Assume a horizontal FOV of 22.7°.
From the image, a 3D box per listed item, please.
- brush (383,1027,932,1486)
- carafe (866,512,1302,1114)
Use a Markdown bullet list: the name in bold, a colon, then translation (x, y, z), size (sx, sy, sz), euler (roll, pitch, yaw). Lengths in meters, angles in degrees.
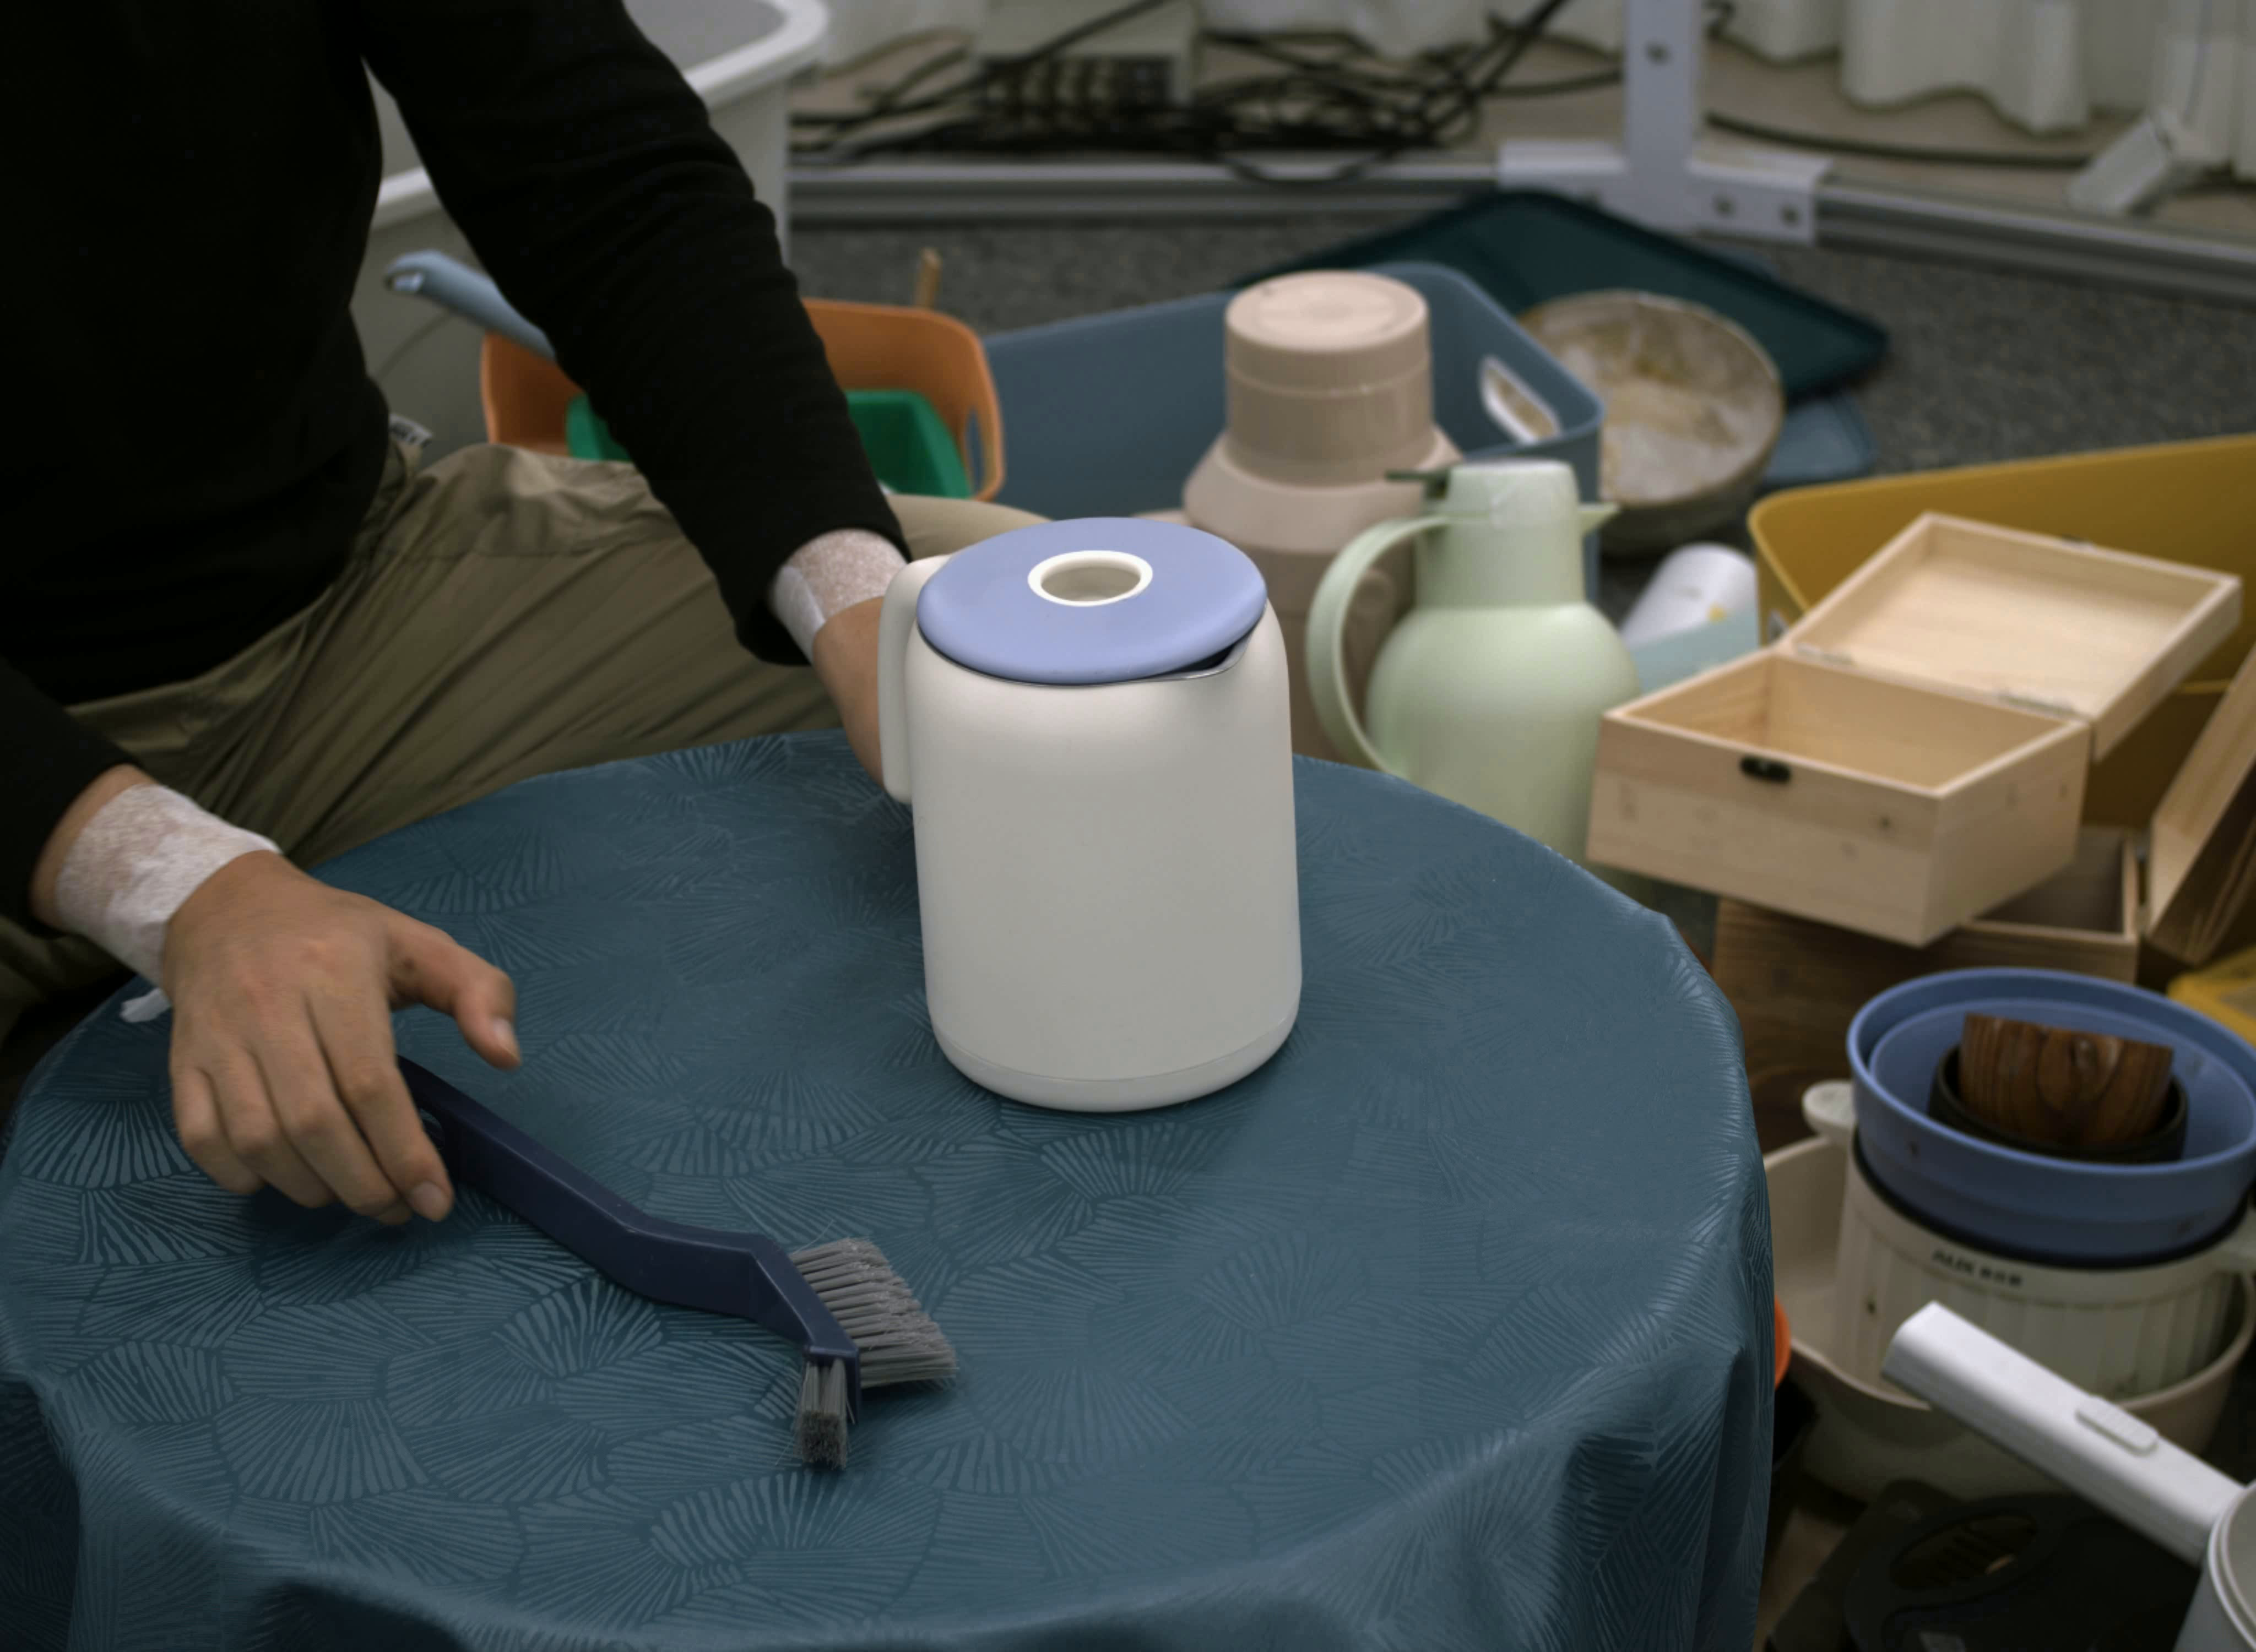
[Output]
- **brush**: translation (-0.171, 0.135, 1.820), size (0.272, 0.033, 0.097), euler (21, 38, 37)
- **carafe**: translation (-0.024, -0.013, 1.939), size (0.133, 0.181, 0.191), euler (-24, 32, -36)
